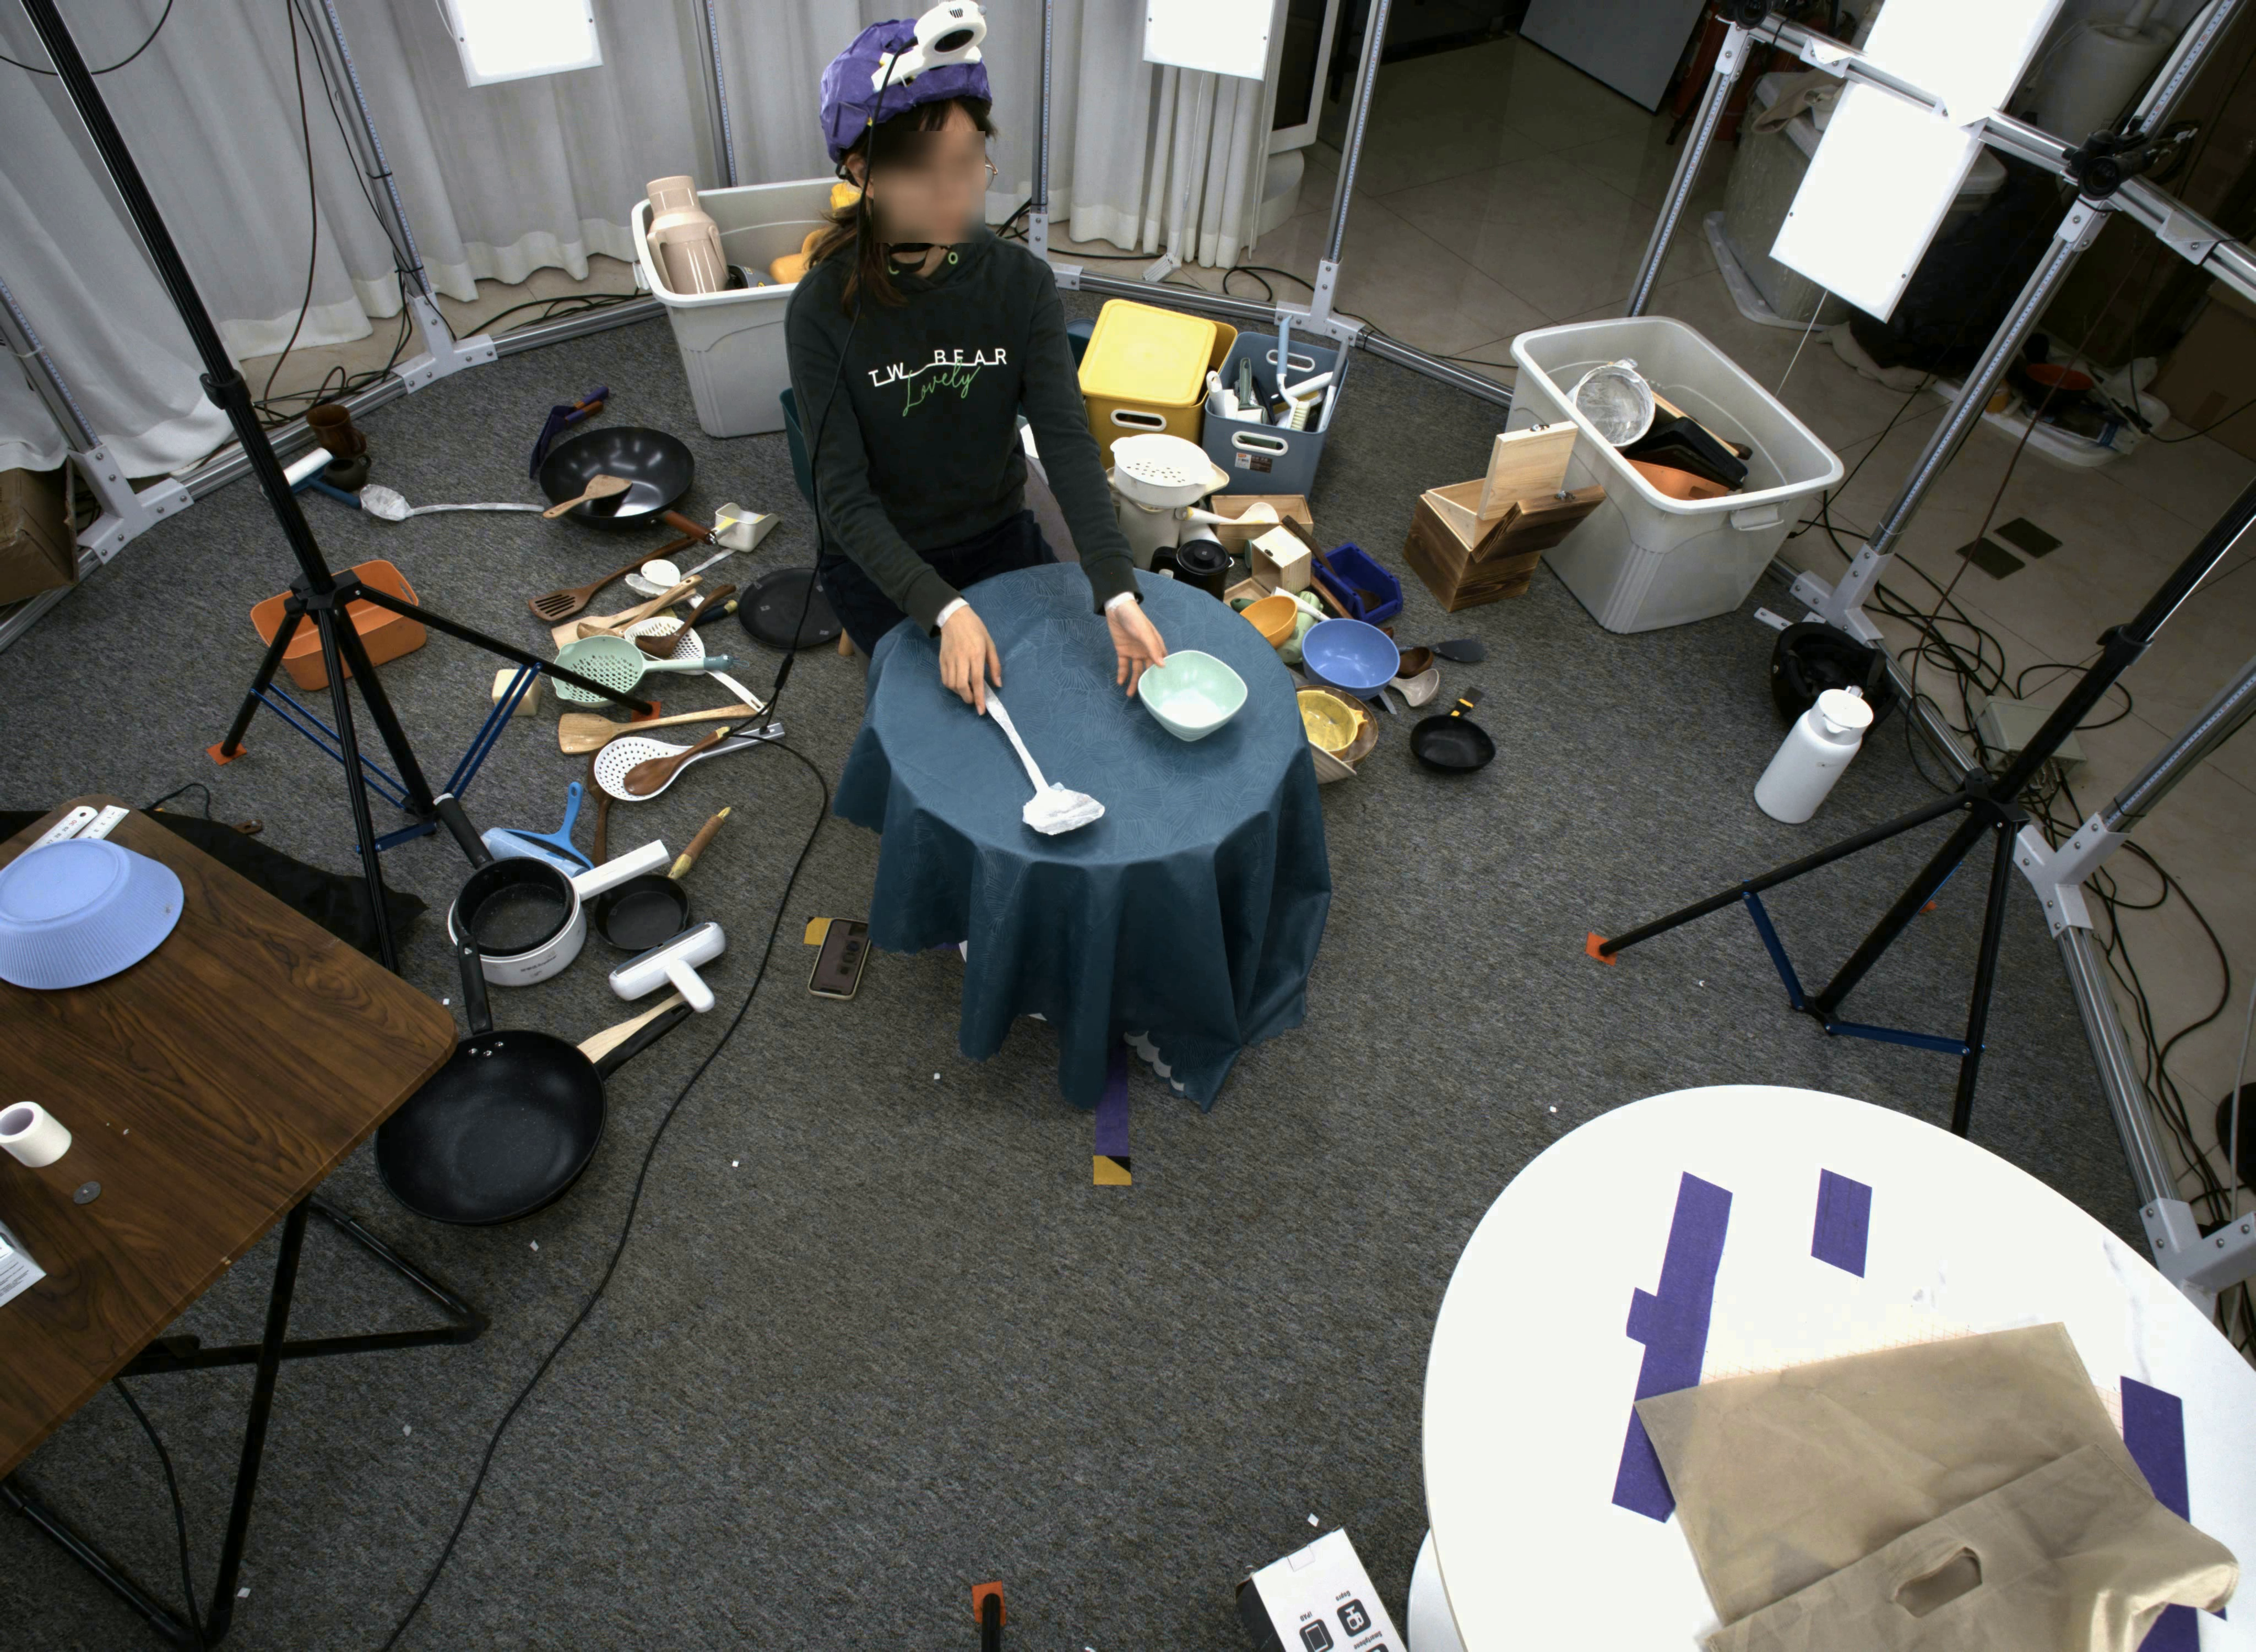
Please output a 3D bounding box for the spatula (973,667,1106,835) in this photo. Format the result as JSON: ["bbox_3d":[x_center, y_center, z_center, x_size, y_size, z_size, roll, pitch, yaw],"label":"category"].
[{"bbox_3d":[-0.143,-0.113,1.748,0.099,0.043,0.373,-19,53,-17],"label":"spatula"}]

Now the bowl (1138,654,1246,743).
[{"bbox_3d":[0.087,-0.171,1.803,0.151,0.057,0.155,4,48,-4],"label":"bowl"}]
